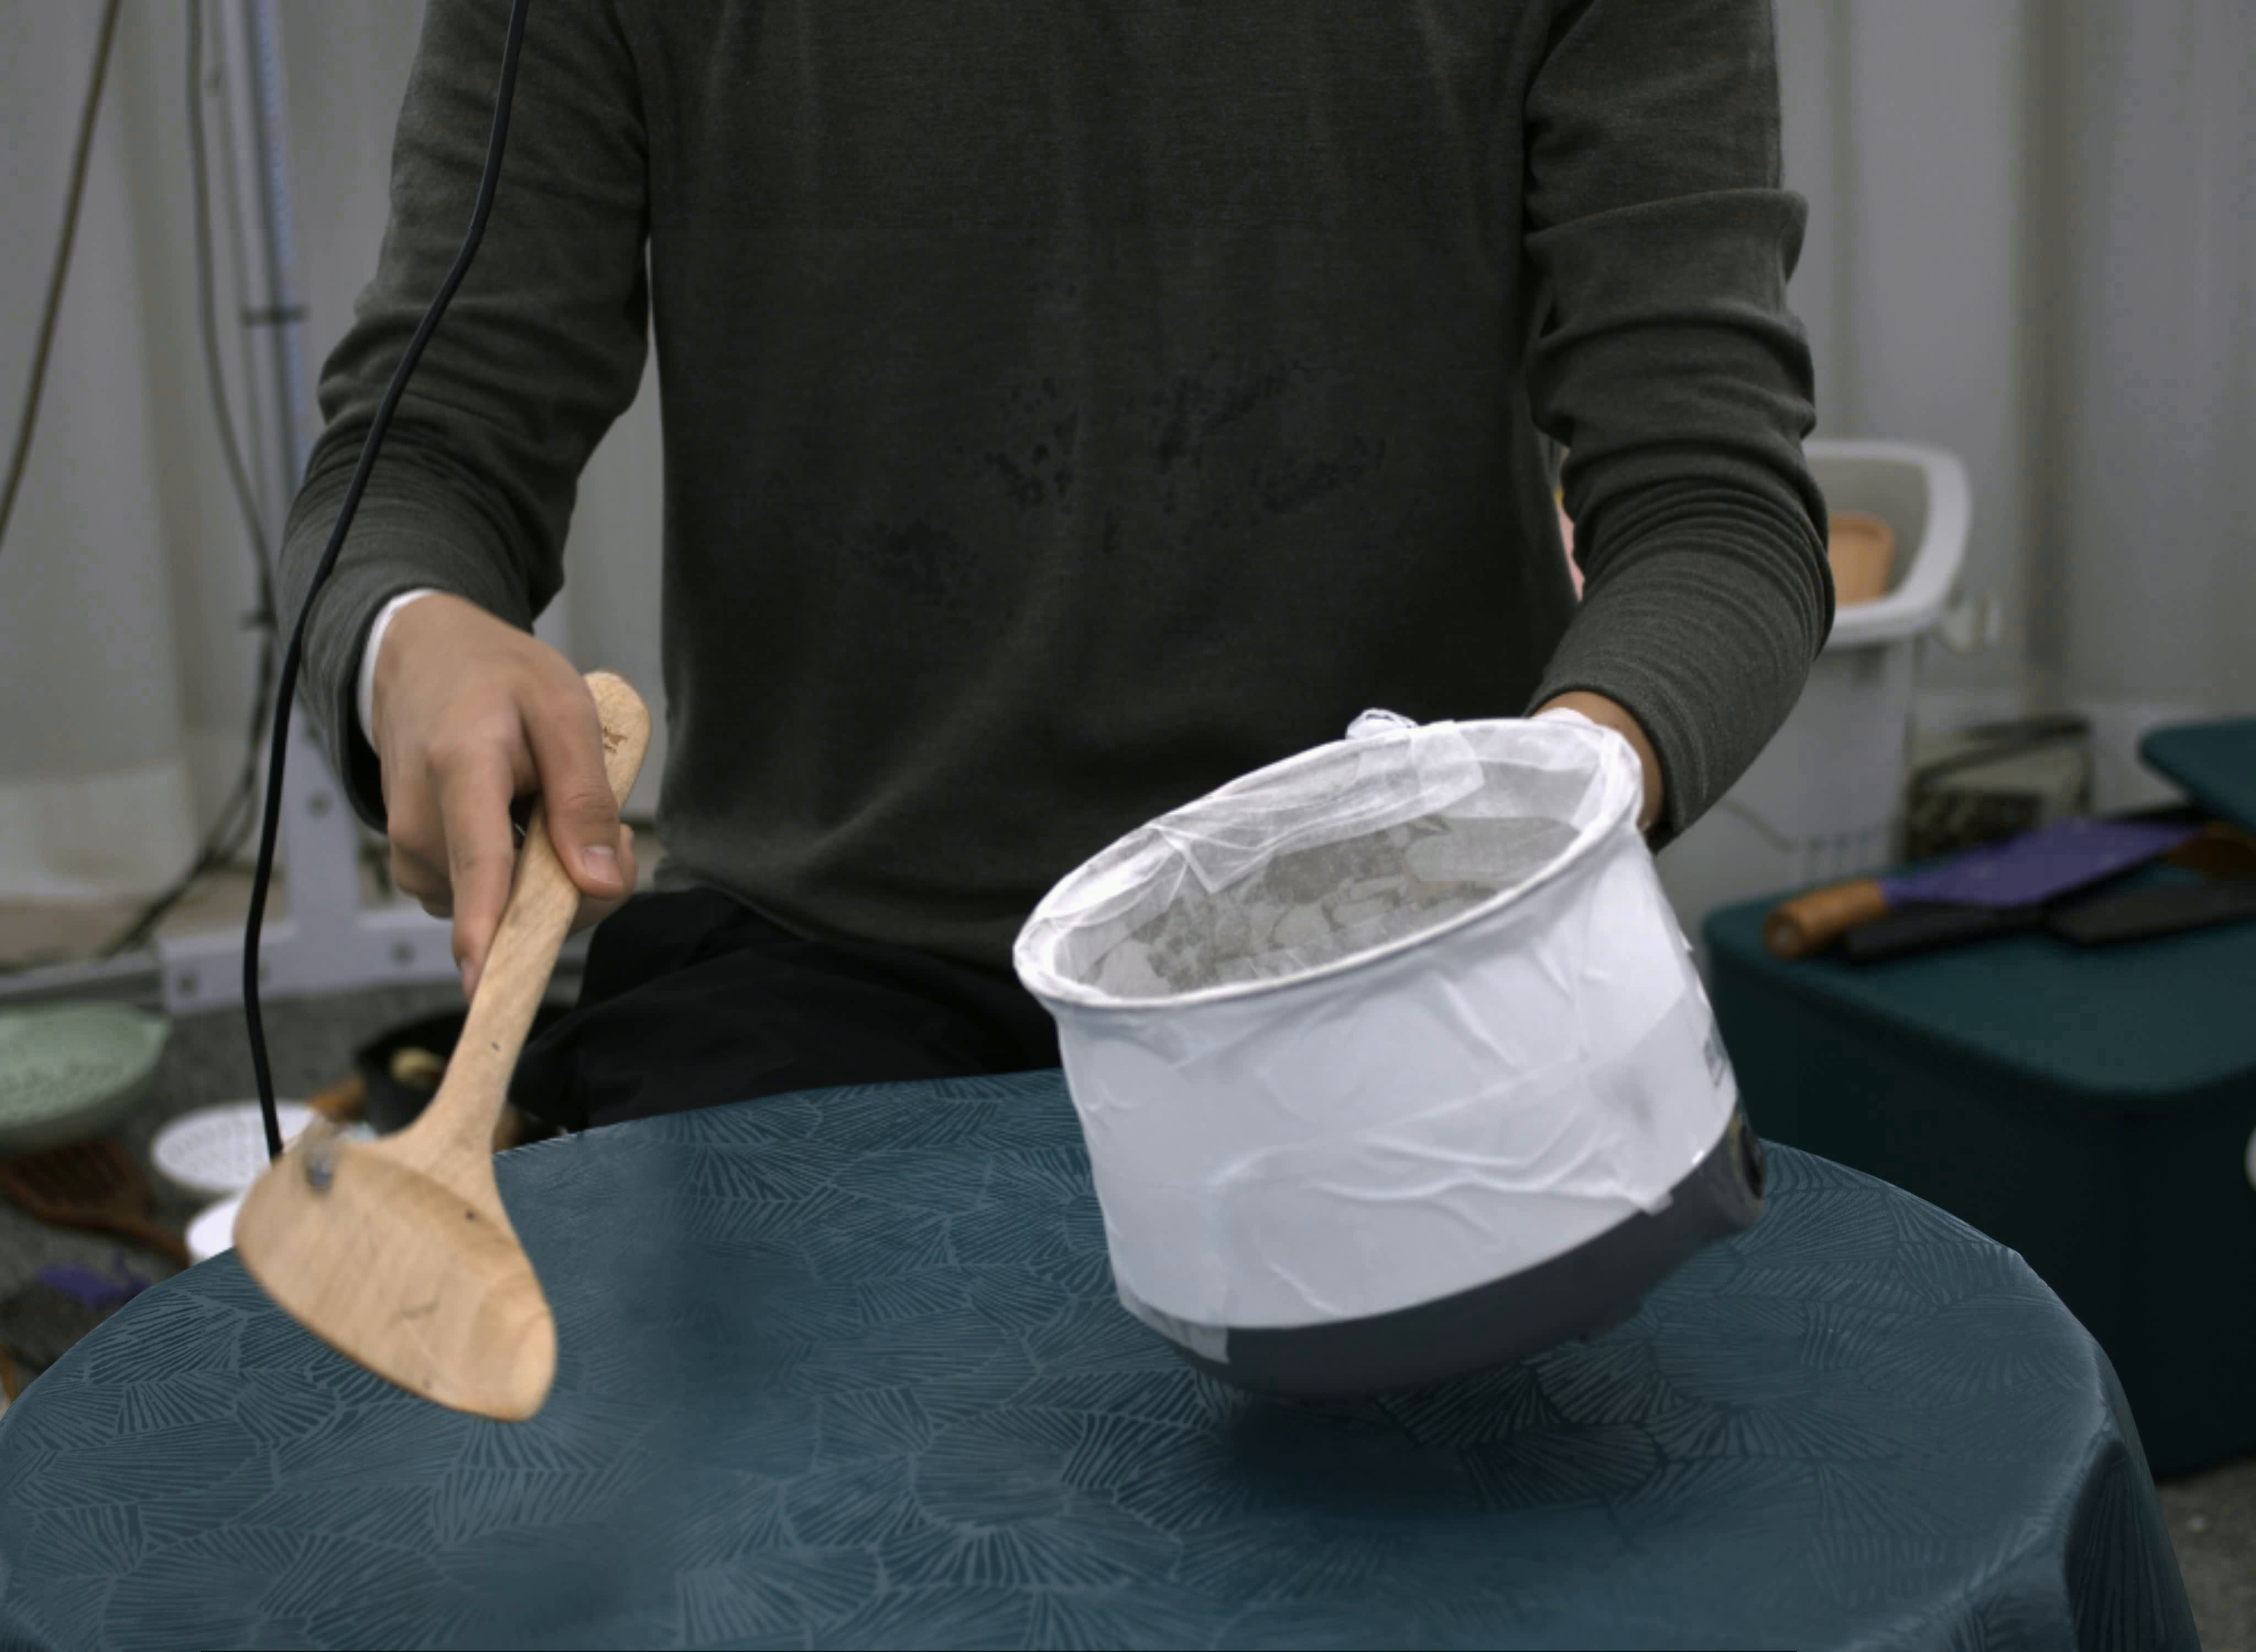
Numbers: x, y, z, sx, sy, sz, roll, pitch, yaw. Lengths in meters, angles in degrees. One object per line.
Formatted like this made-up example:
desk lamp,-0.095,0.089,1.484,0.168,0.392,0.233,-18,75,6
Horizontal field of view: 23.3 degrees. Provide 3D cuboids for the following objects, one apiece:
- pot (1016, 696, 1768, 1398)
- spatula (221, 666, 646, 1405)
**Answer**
pot,0.077,0.053,1.512,0.178,0.136,0.235,-14,18,14
spatula,-0.180,0.041,1.547,0.095,0.018,0.395,39,25,-14
